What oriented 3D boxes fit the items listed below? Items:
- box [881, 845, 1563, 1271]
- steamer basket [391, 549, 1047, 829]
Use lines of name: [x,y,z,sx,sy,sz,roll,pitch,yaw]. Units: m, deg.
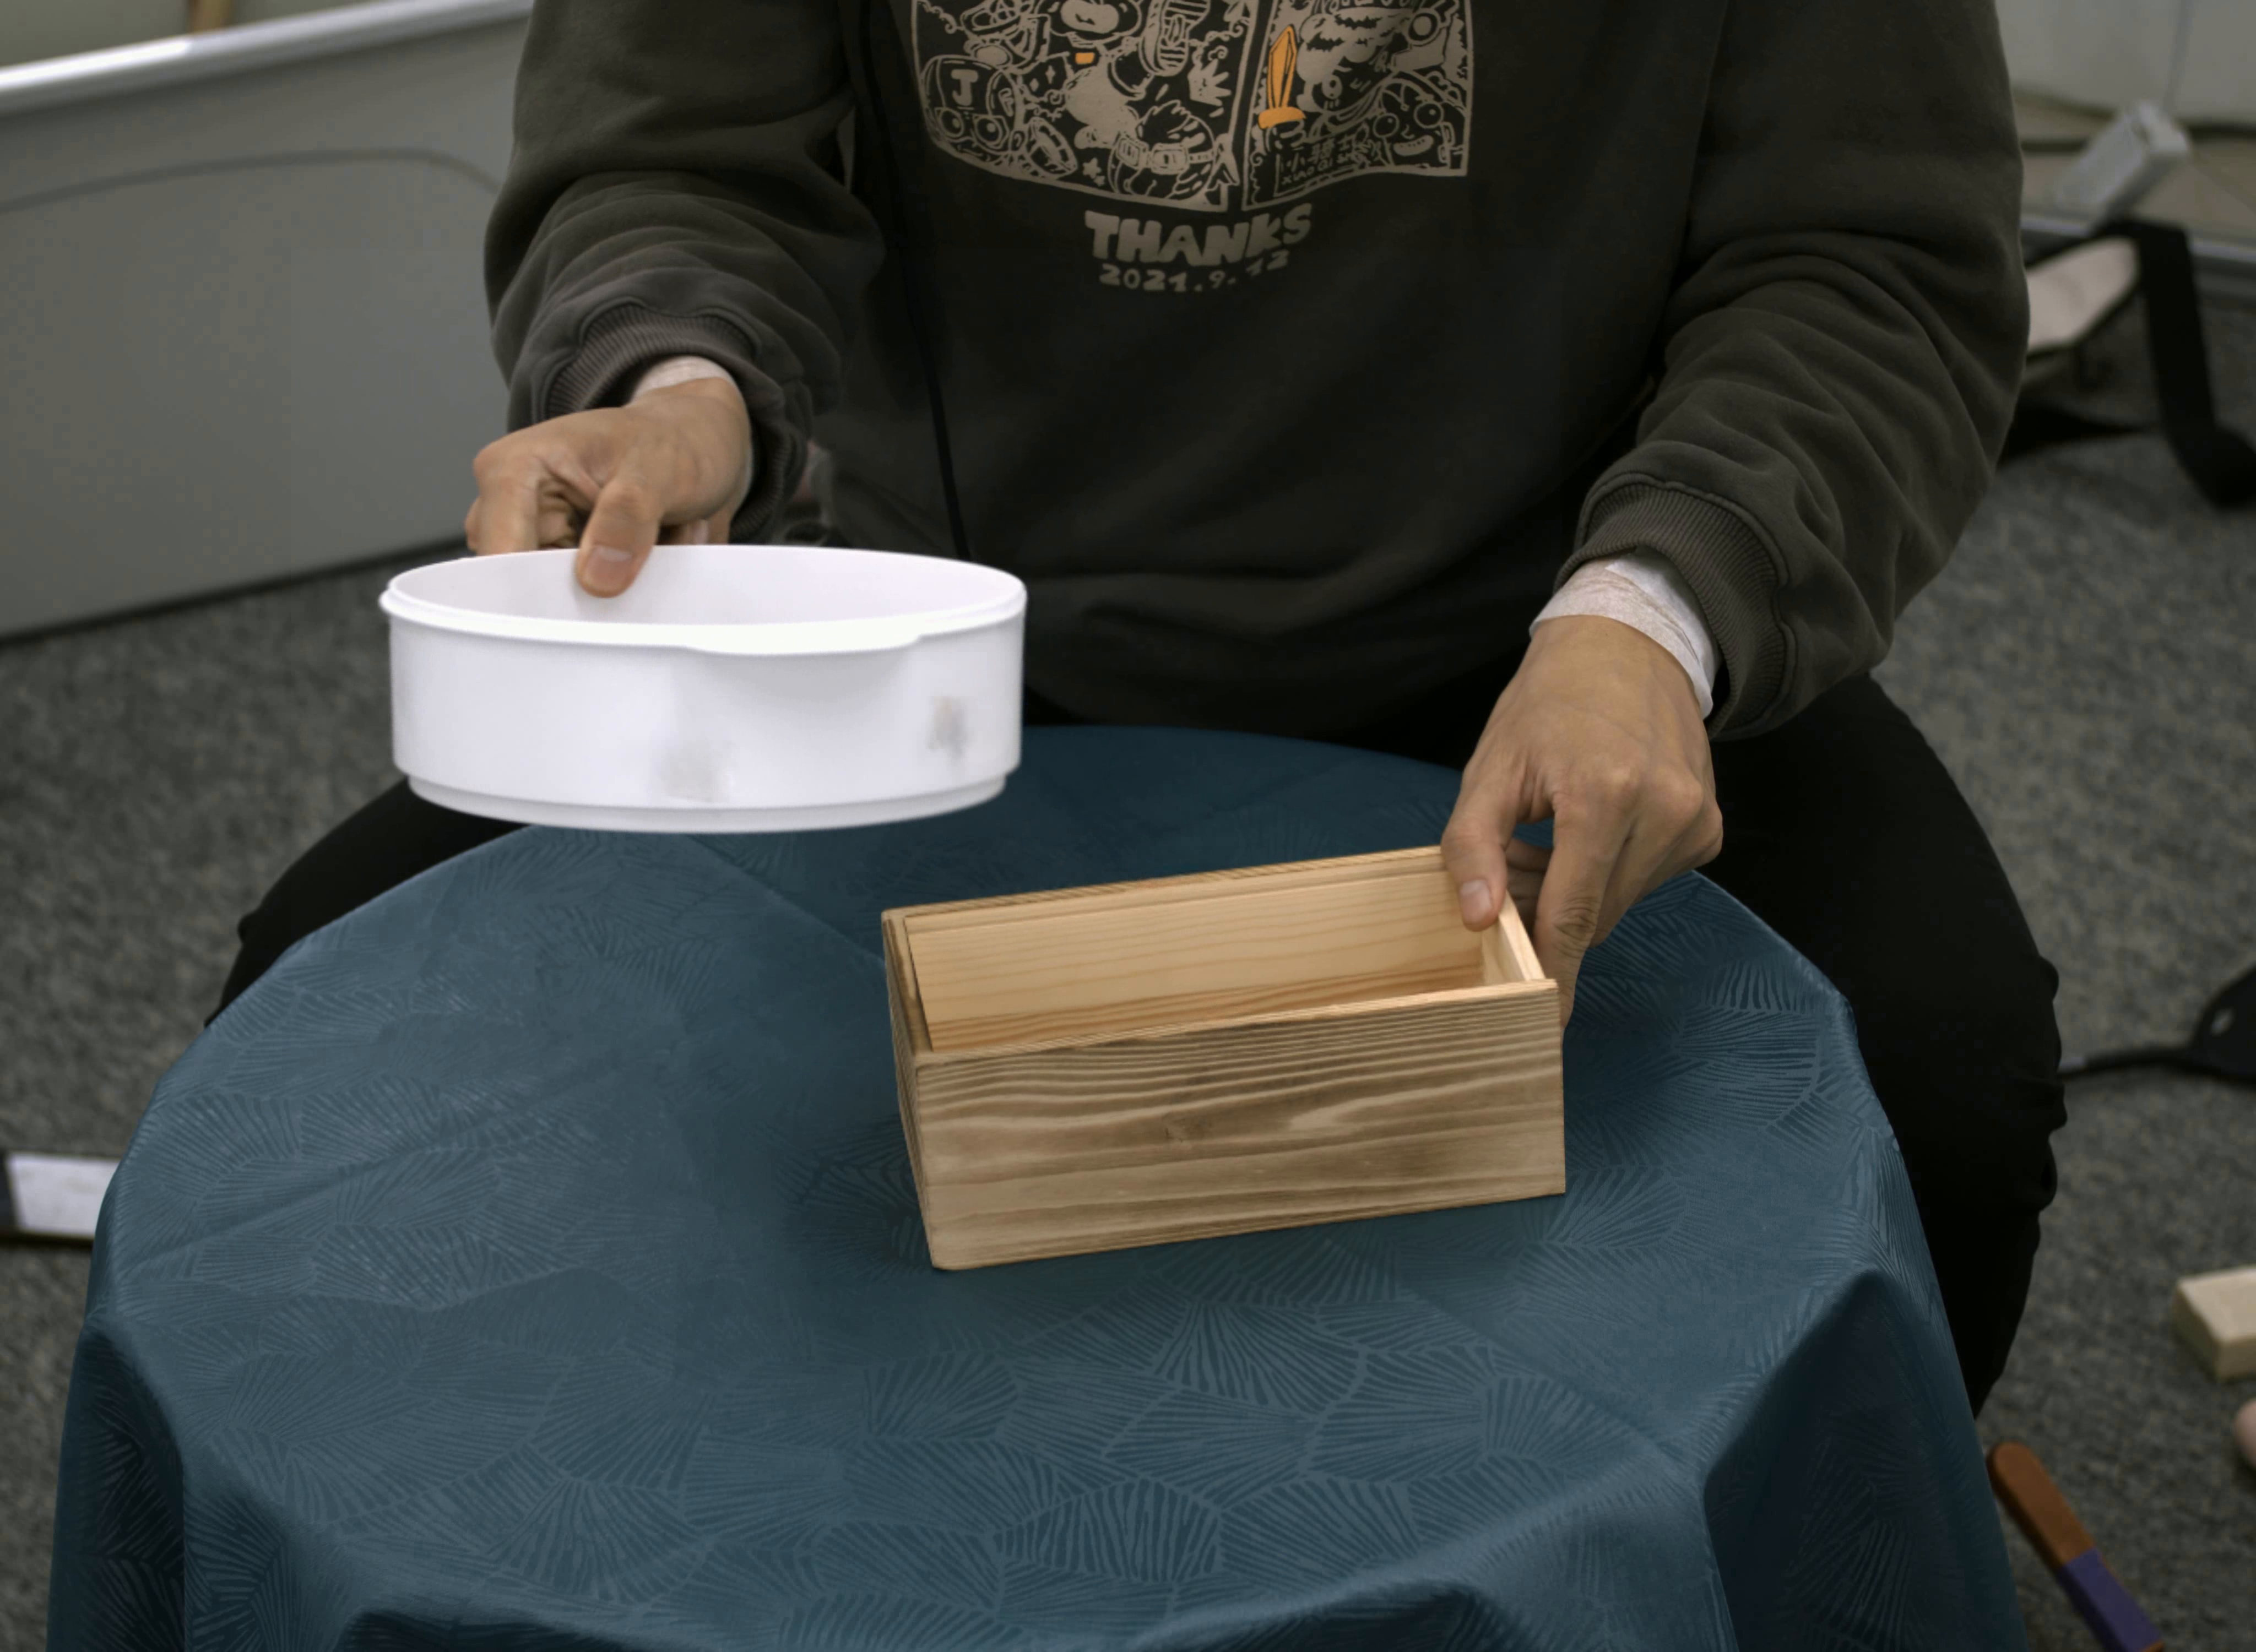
box: [0.030,0.075,1.861,0.211,0.079,0.109,-7,27,-7]
steamer basket: [-0.126,-0.042,1.732,0.202,0.069,0.230,-1,9,-22]
